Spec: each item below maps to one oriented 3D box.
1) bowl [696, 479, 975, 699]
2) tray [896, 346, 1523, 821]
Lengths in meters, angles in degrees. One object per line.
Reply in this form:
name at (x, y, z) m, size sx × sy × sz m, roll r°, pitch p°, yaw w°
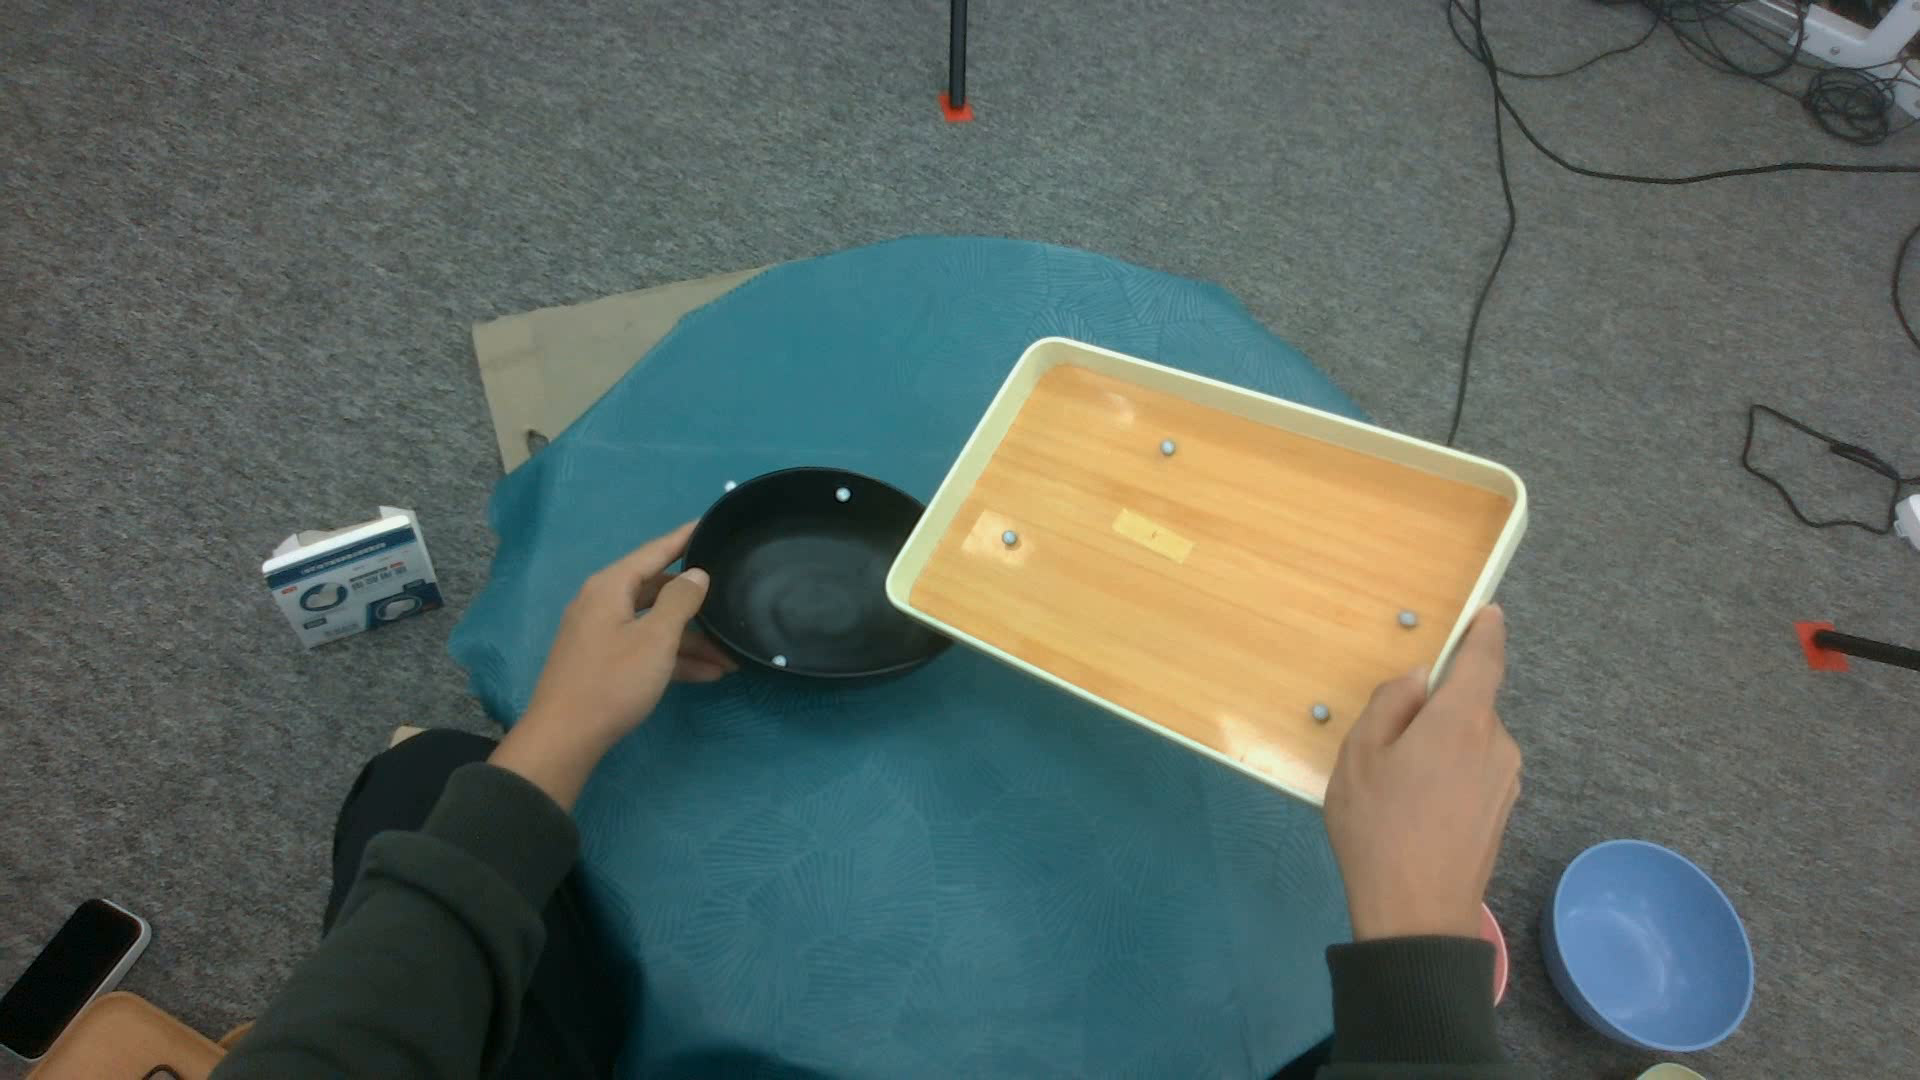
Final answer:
bowl at (-0.072, 0.037, 0.810) m, size 0.170 × 0.066 × 0.138 m, roll 3°, pitch 59°, yaw -16°
tray at (0.121, 0.008, 0.738) m, size 0.300 × 0.027 × 0.192 m, roll 22°, pitch 75°, yaw 35°
